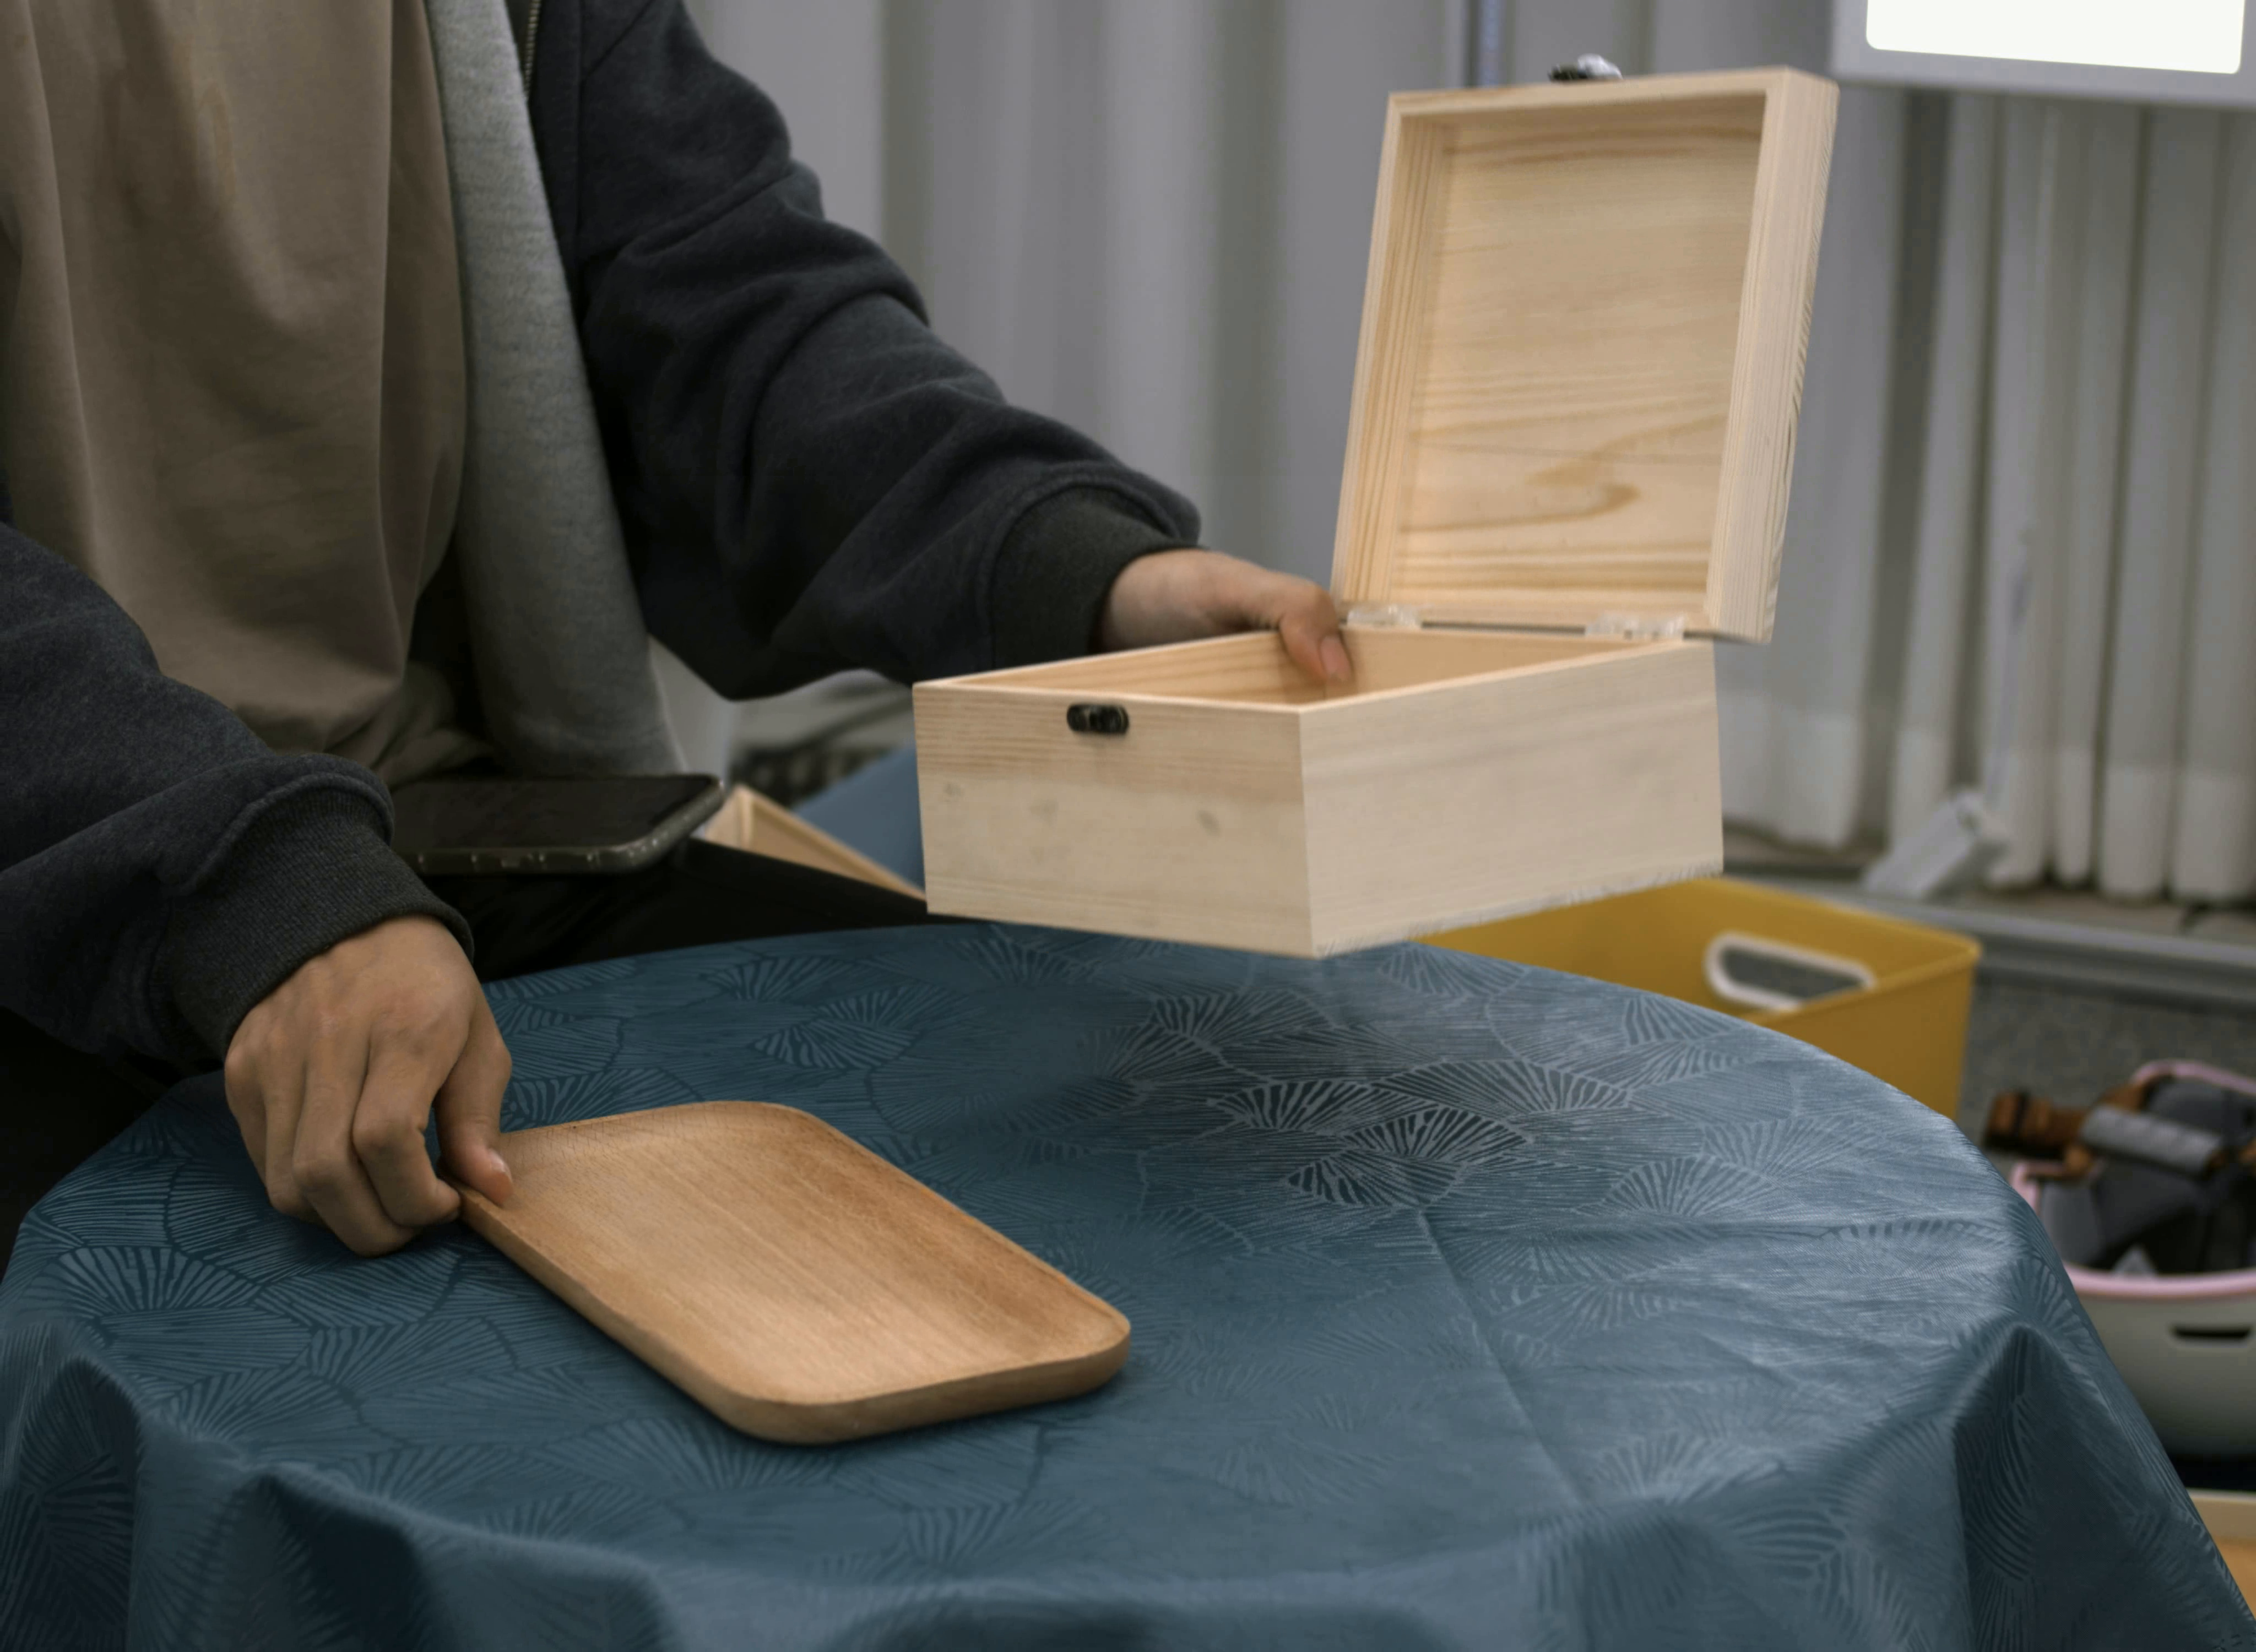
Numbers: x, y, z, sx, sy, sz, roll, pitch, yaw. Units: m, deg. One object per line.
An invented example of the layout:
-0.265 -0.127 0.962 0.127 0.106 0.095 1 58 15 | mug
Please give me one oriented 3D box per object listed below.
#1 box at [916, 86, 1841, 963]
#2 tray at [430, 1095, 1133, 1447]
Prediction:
0.080 -0.101 1.680 0.267 0.254 0.179 -9 8 -42 | box
-0.105 0.126 1.533 0.131 0.023 0.247 -5 16 -29 | tray
